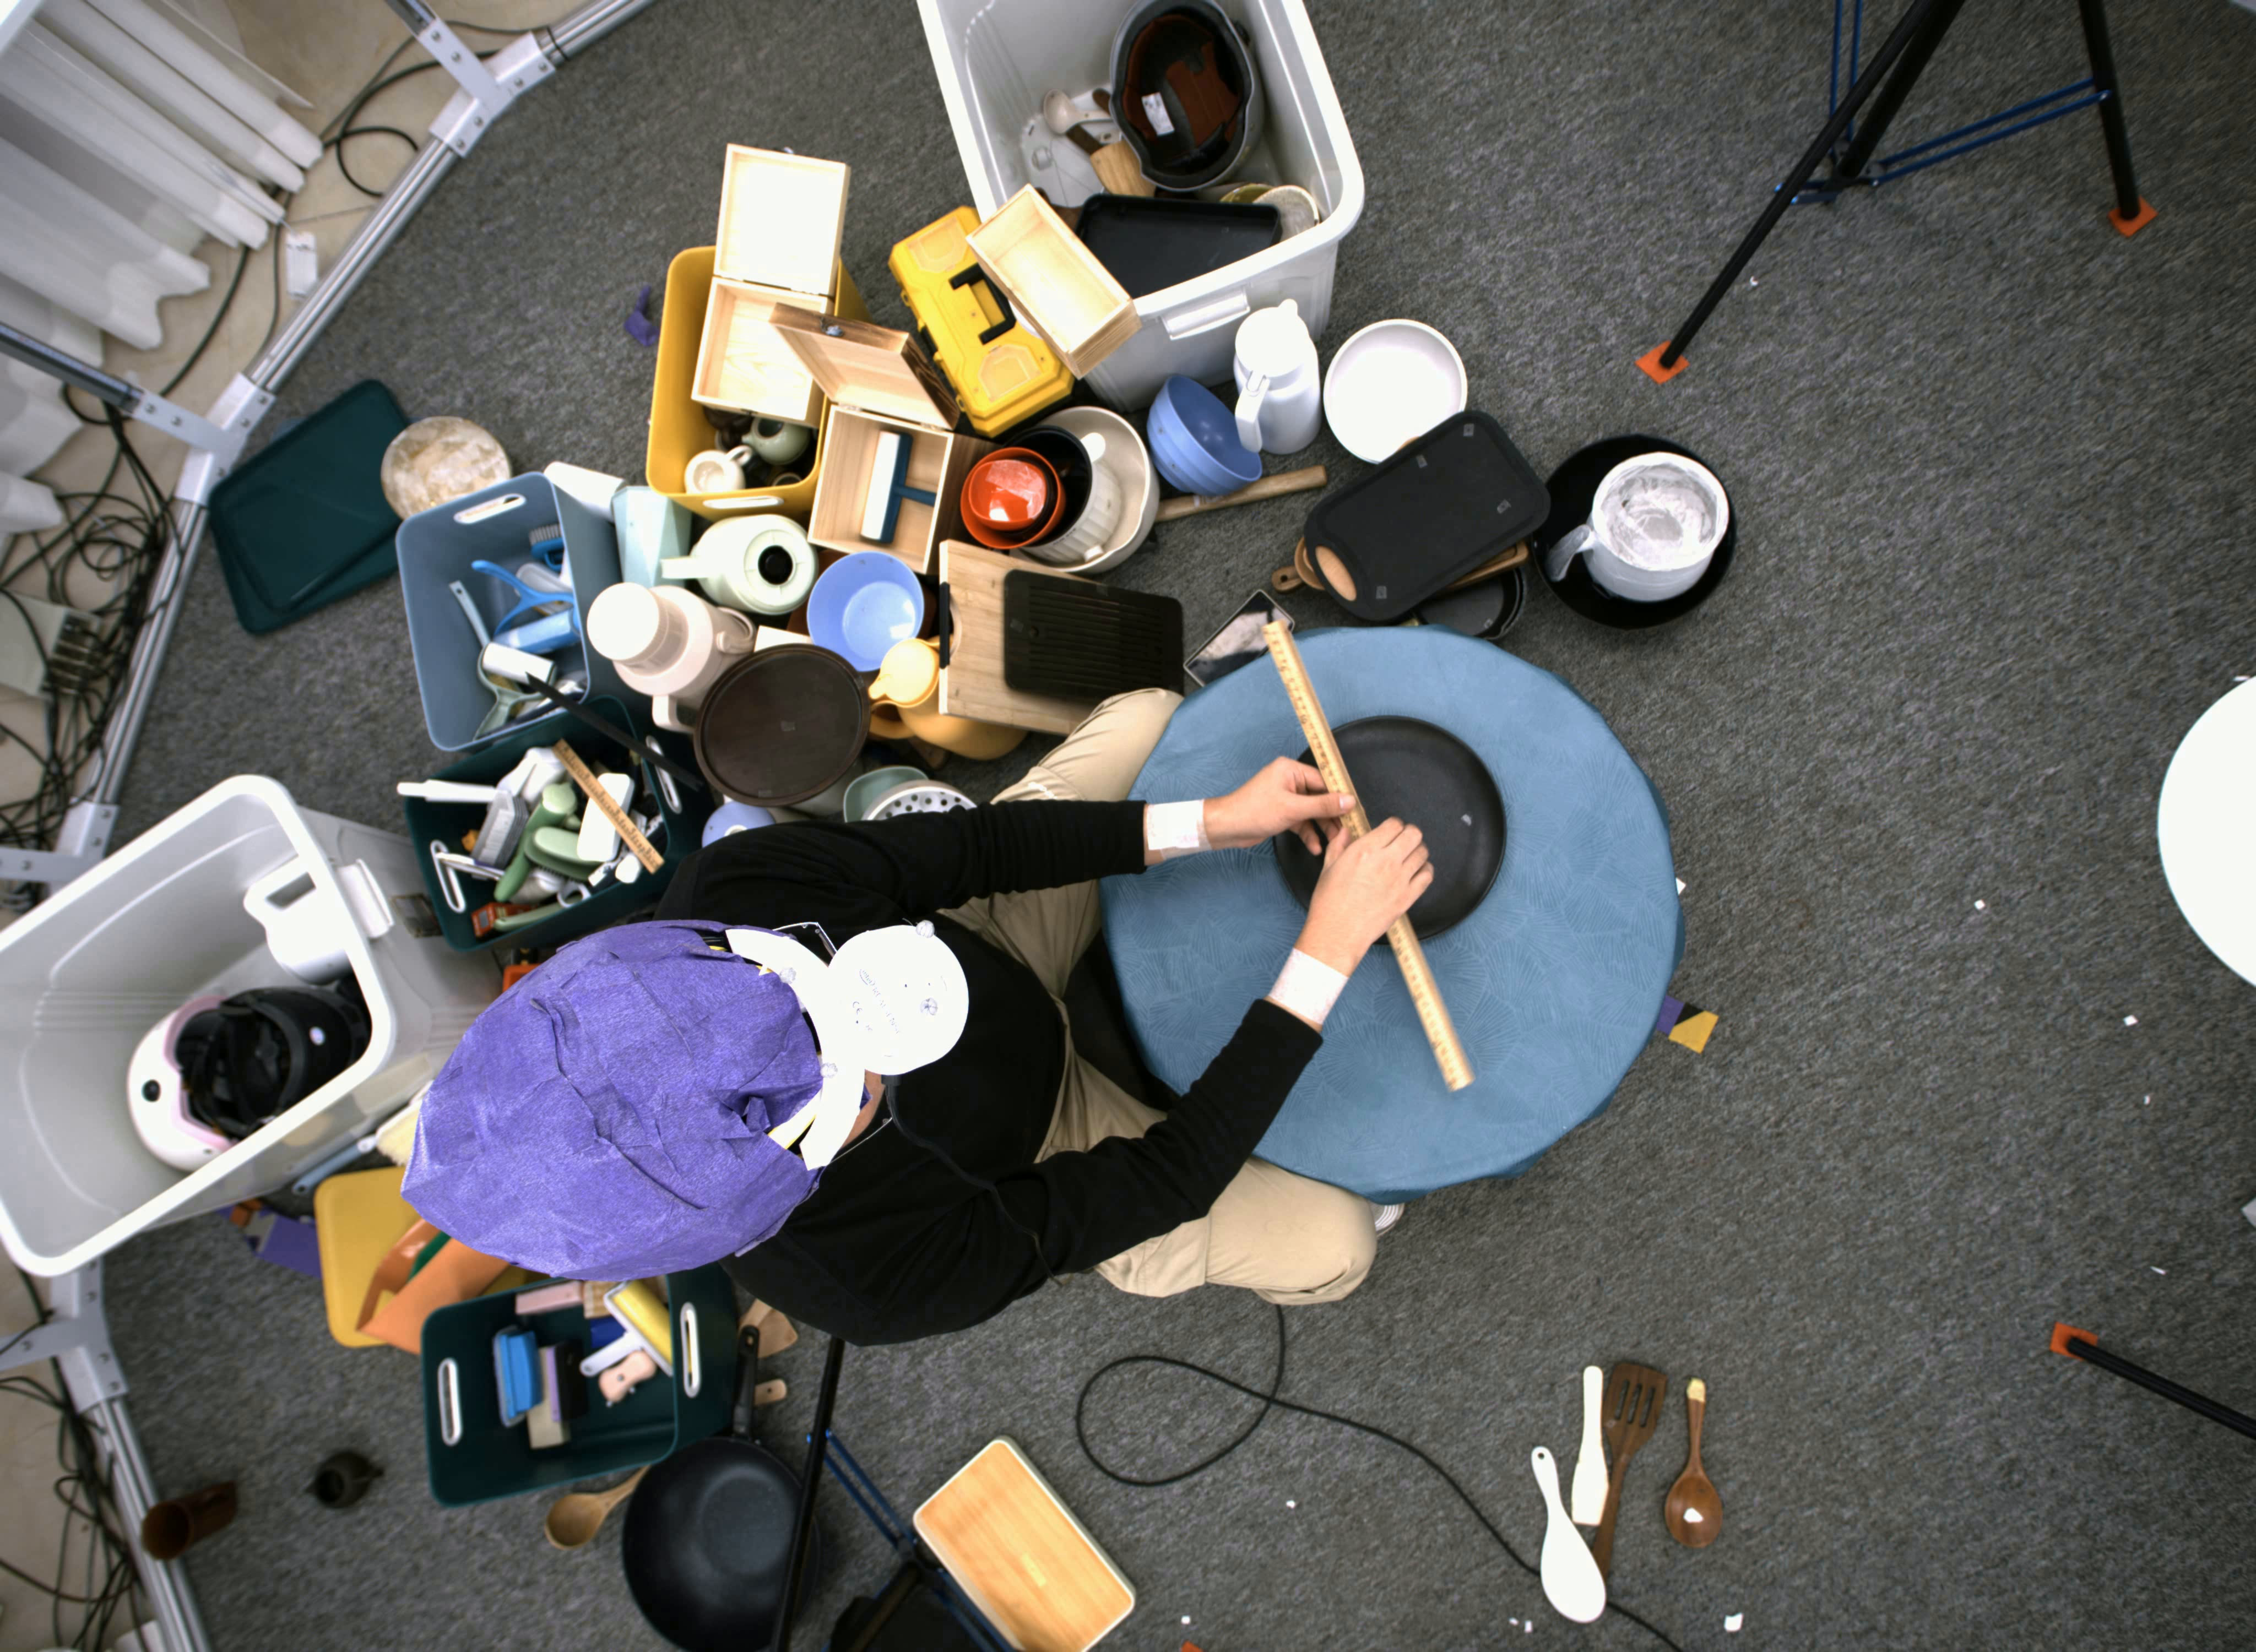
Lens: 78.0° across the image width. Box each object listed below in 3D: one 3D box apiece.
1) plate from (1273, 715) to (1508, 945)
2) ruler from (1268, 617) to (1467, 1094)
[{"bbox_3d":[0.274,0.003,1.451,0.245,0.023,0.243,-1,87,11],"label":"plate"},{"bbox_3d":[0.238,0.030,1.370,0.027,0.006,0.500,-20,92,12],"label":"ruler"}]
